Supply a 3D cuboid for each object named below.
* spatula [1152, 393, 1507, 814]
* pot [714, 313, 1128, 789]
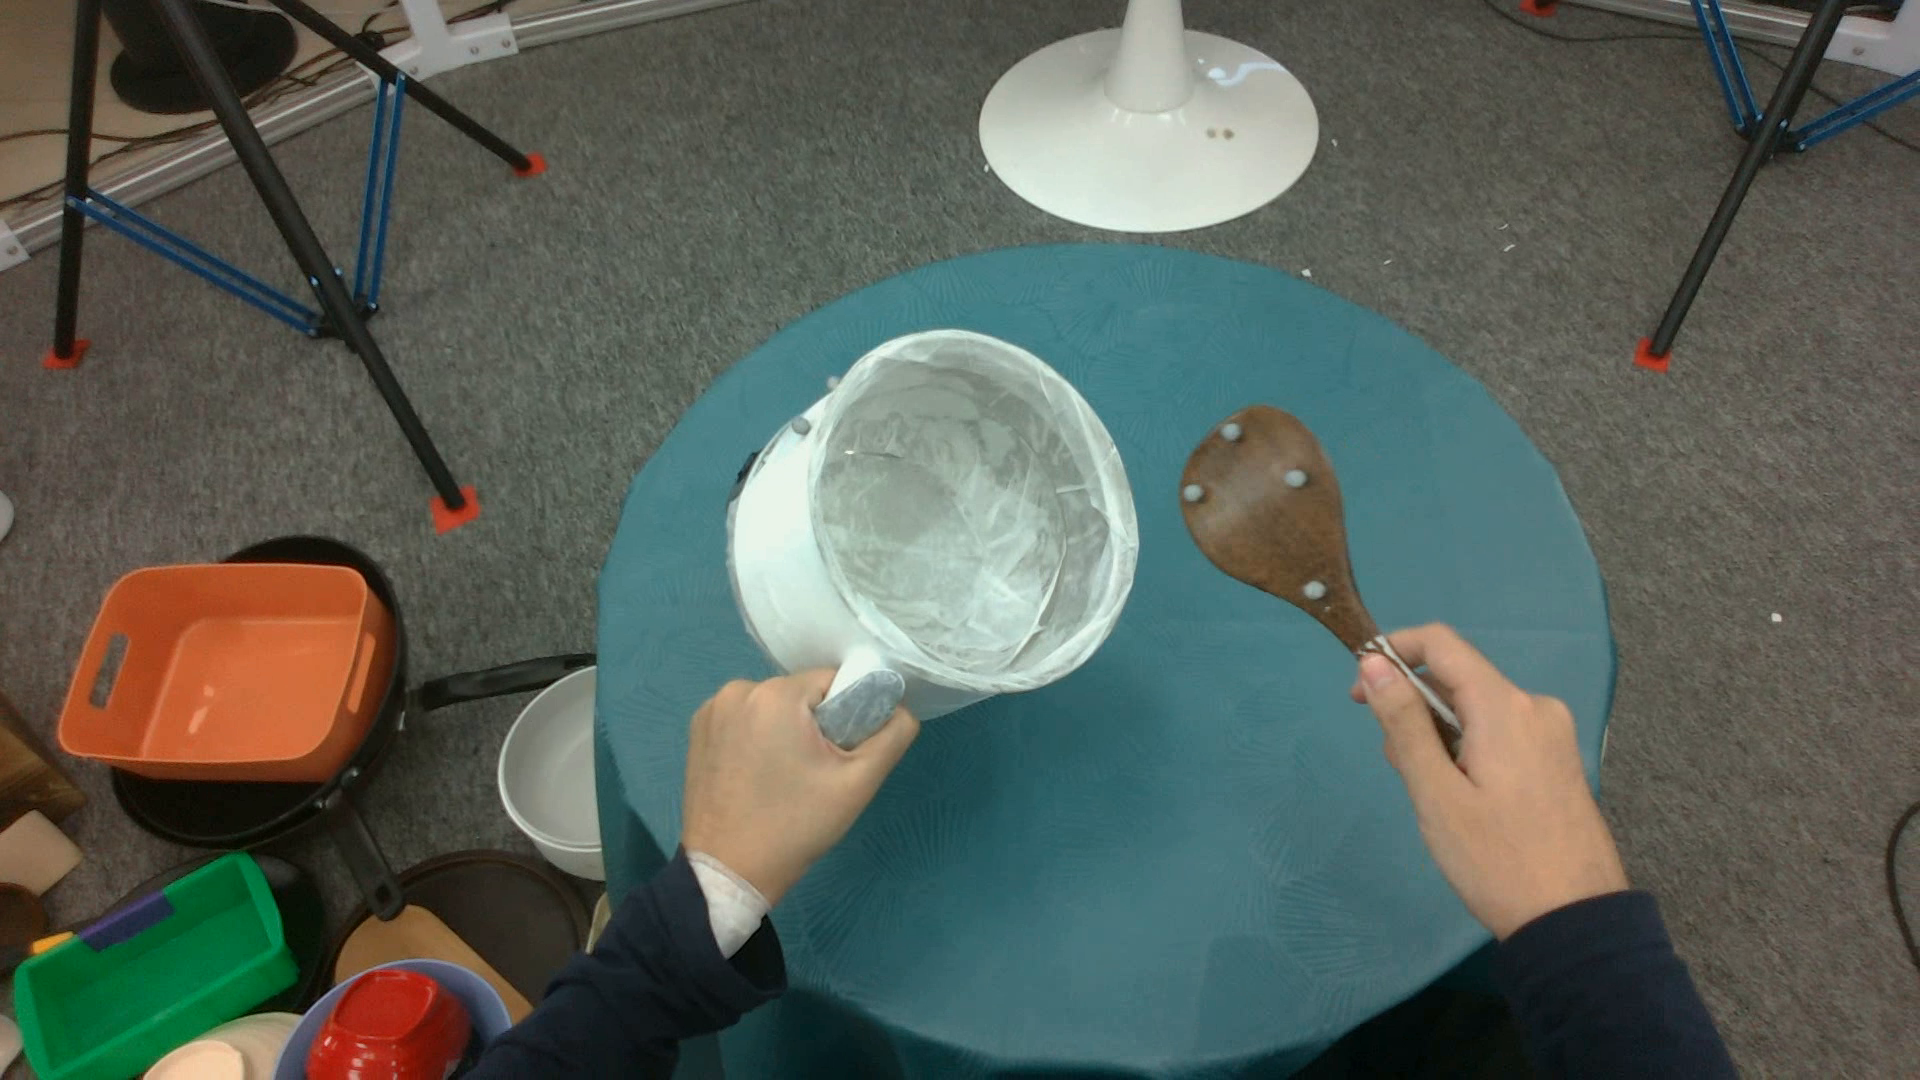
[{"bbox_3d":[0.153,0.028,0.583,0.009,0.071,0.216,-4,51,-48],"label":"spatula"},{"bbox_3d":[-0.035,0.014,0.682,0.178,0.136,0.235,35,60,-15],"label":"pot"}]
